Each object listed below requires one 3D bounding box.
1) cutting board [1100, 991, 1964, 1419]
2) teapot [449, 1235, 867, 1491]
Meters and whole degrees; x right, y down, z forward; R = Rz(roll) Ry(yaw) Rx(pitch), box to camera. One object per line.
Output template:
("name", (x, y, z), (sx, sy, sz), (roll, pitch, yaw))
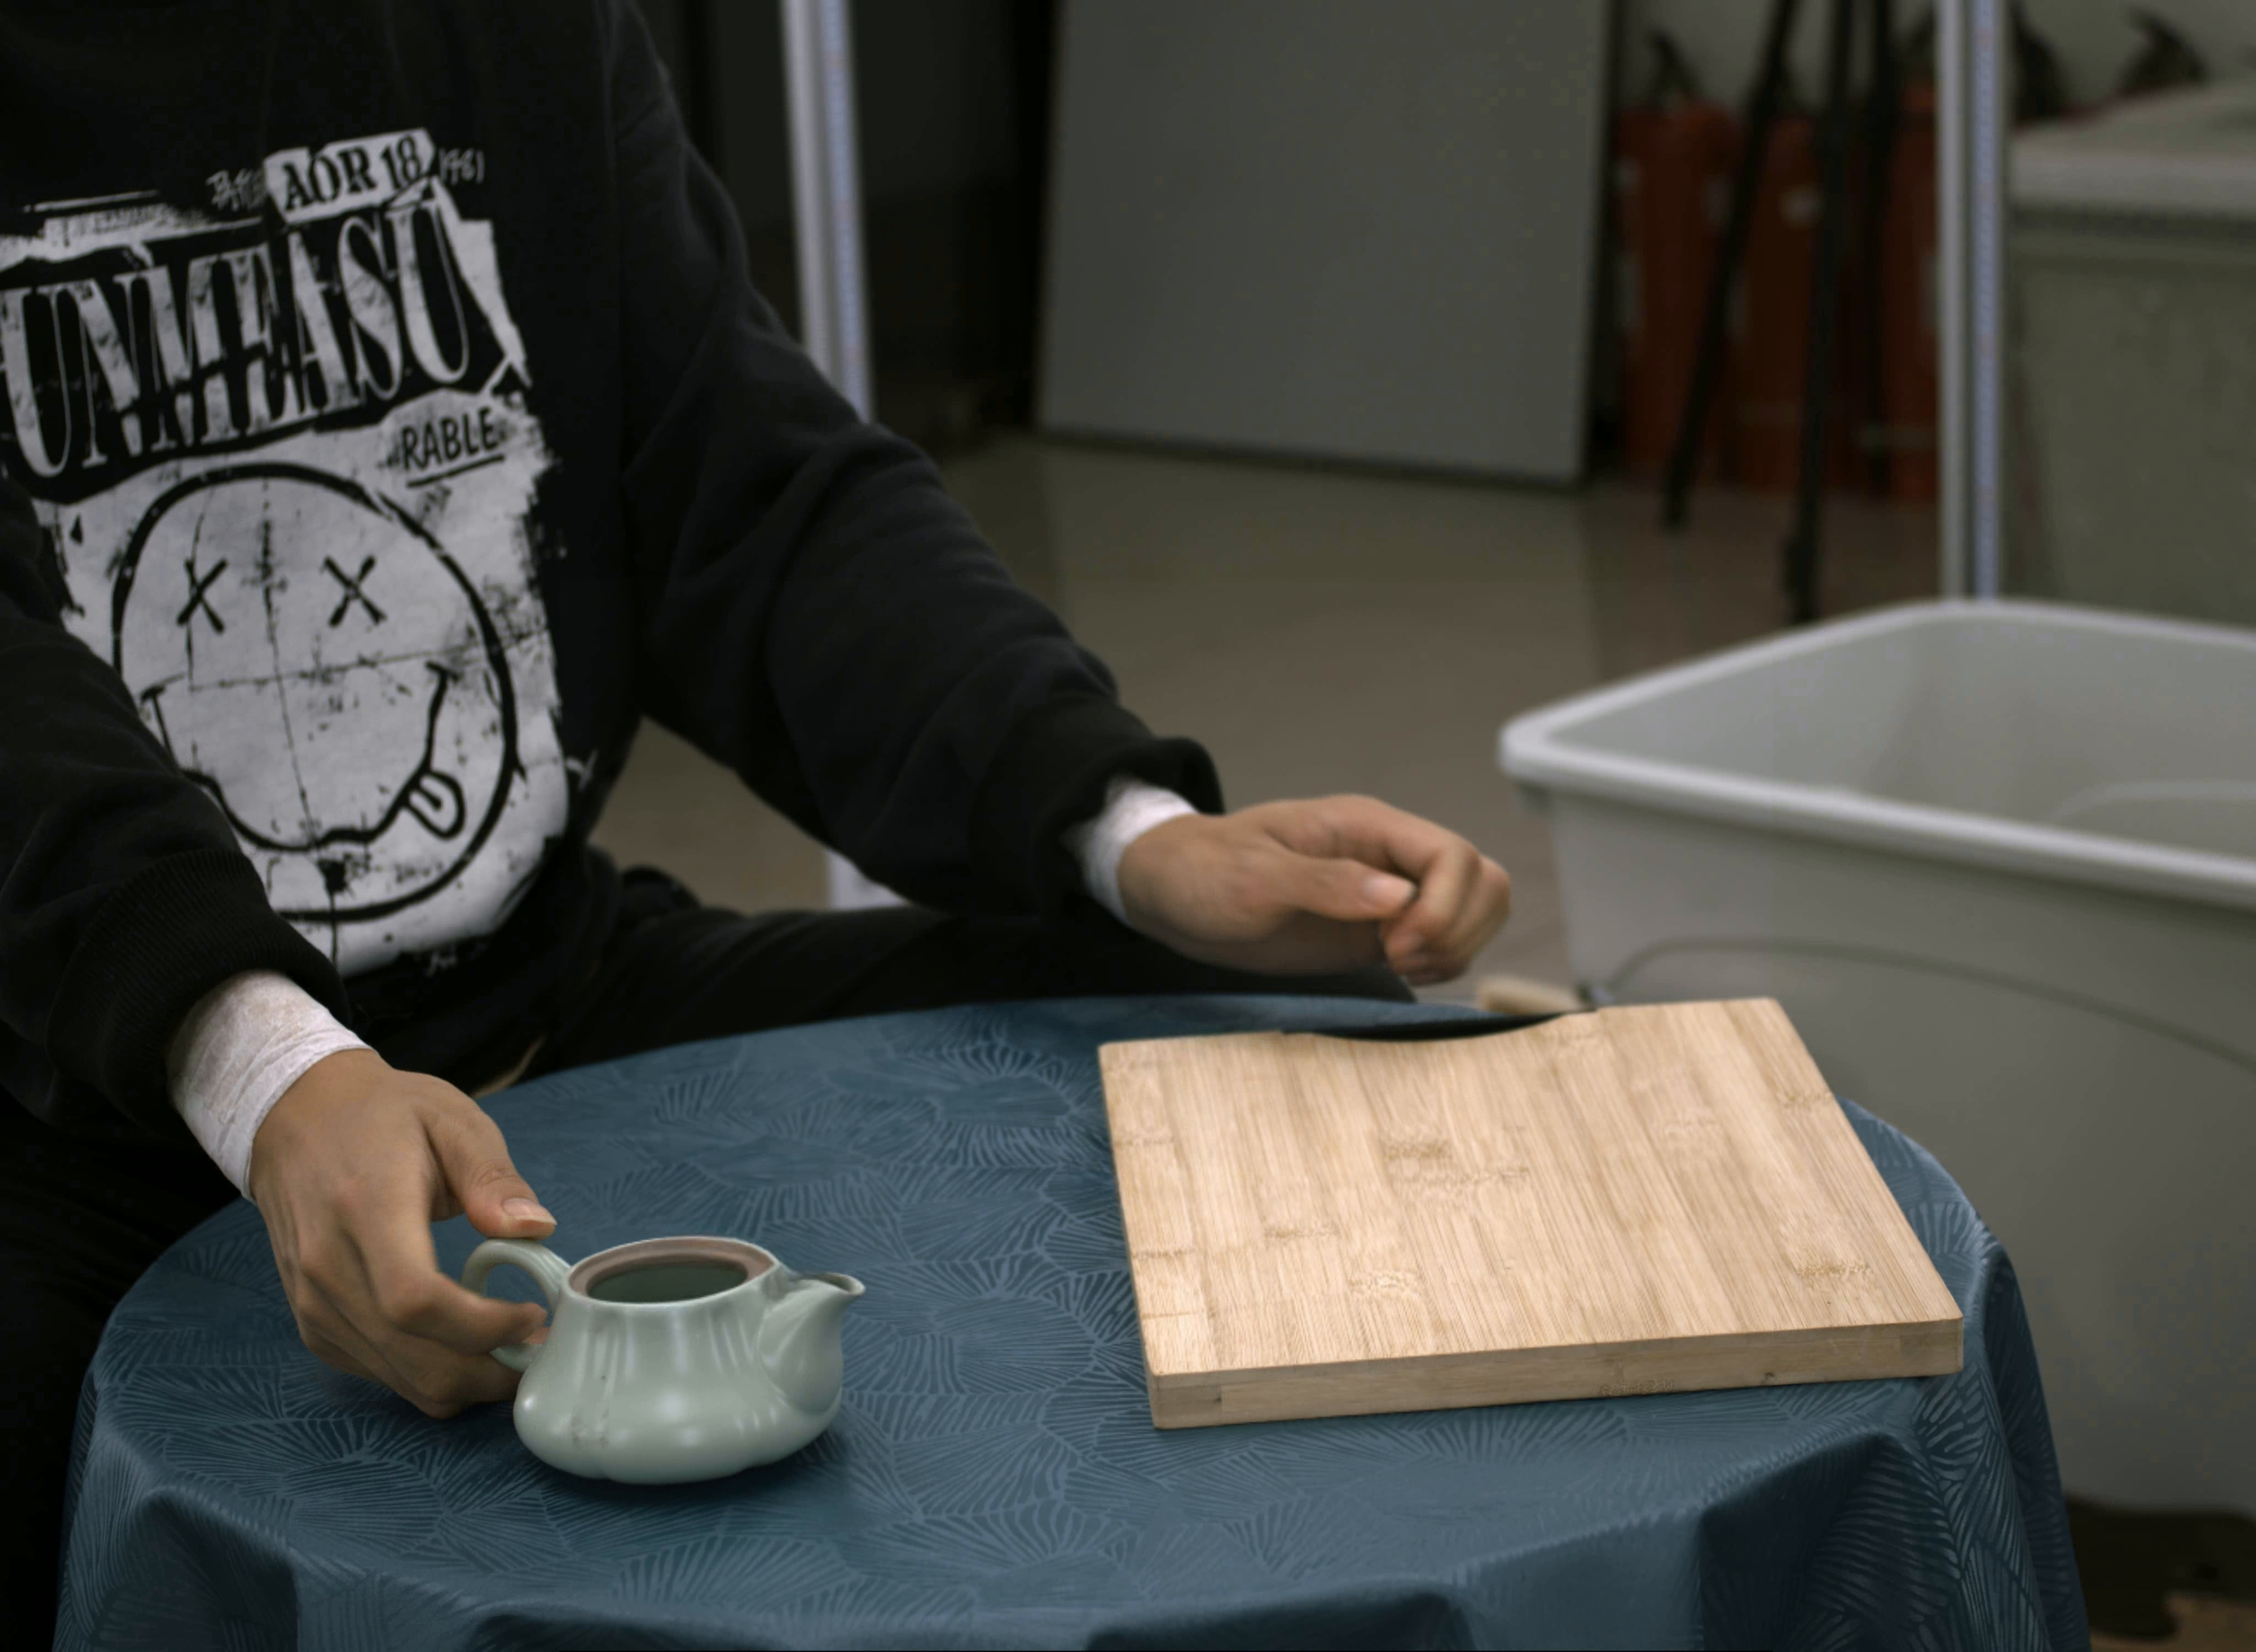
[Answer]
("cutting board", (0.117, 0.117, 1.723), (0.247, 0.024, 0.349), (-5, 14, -2))
("teapot", (-0.135, 0.153, 1.560), (0.137, 0.062, 0.095), (3, 17, 25))
